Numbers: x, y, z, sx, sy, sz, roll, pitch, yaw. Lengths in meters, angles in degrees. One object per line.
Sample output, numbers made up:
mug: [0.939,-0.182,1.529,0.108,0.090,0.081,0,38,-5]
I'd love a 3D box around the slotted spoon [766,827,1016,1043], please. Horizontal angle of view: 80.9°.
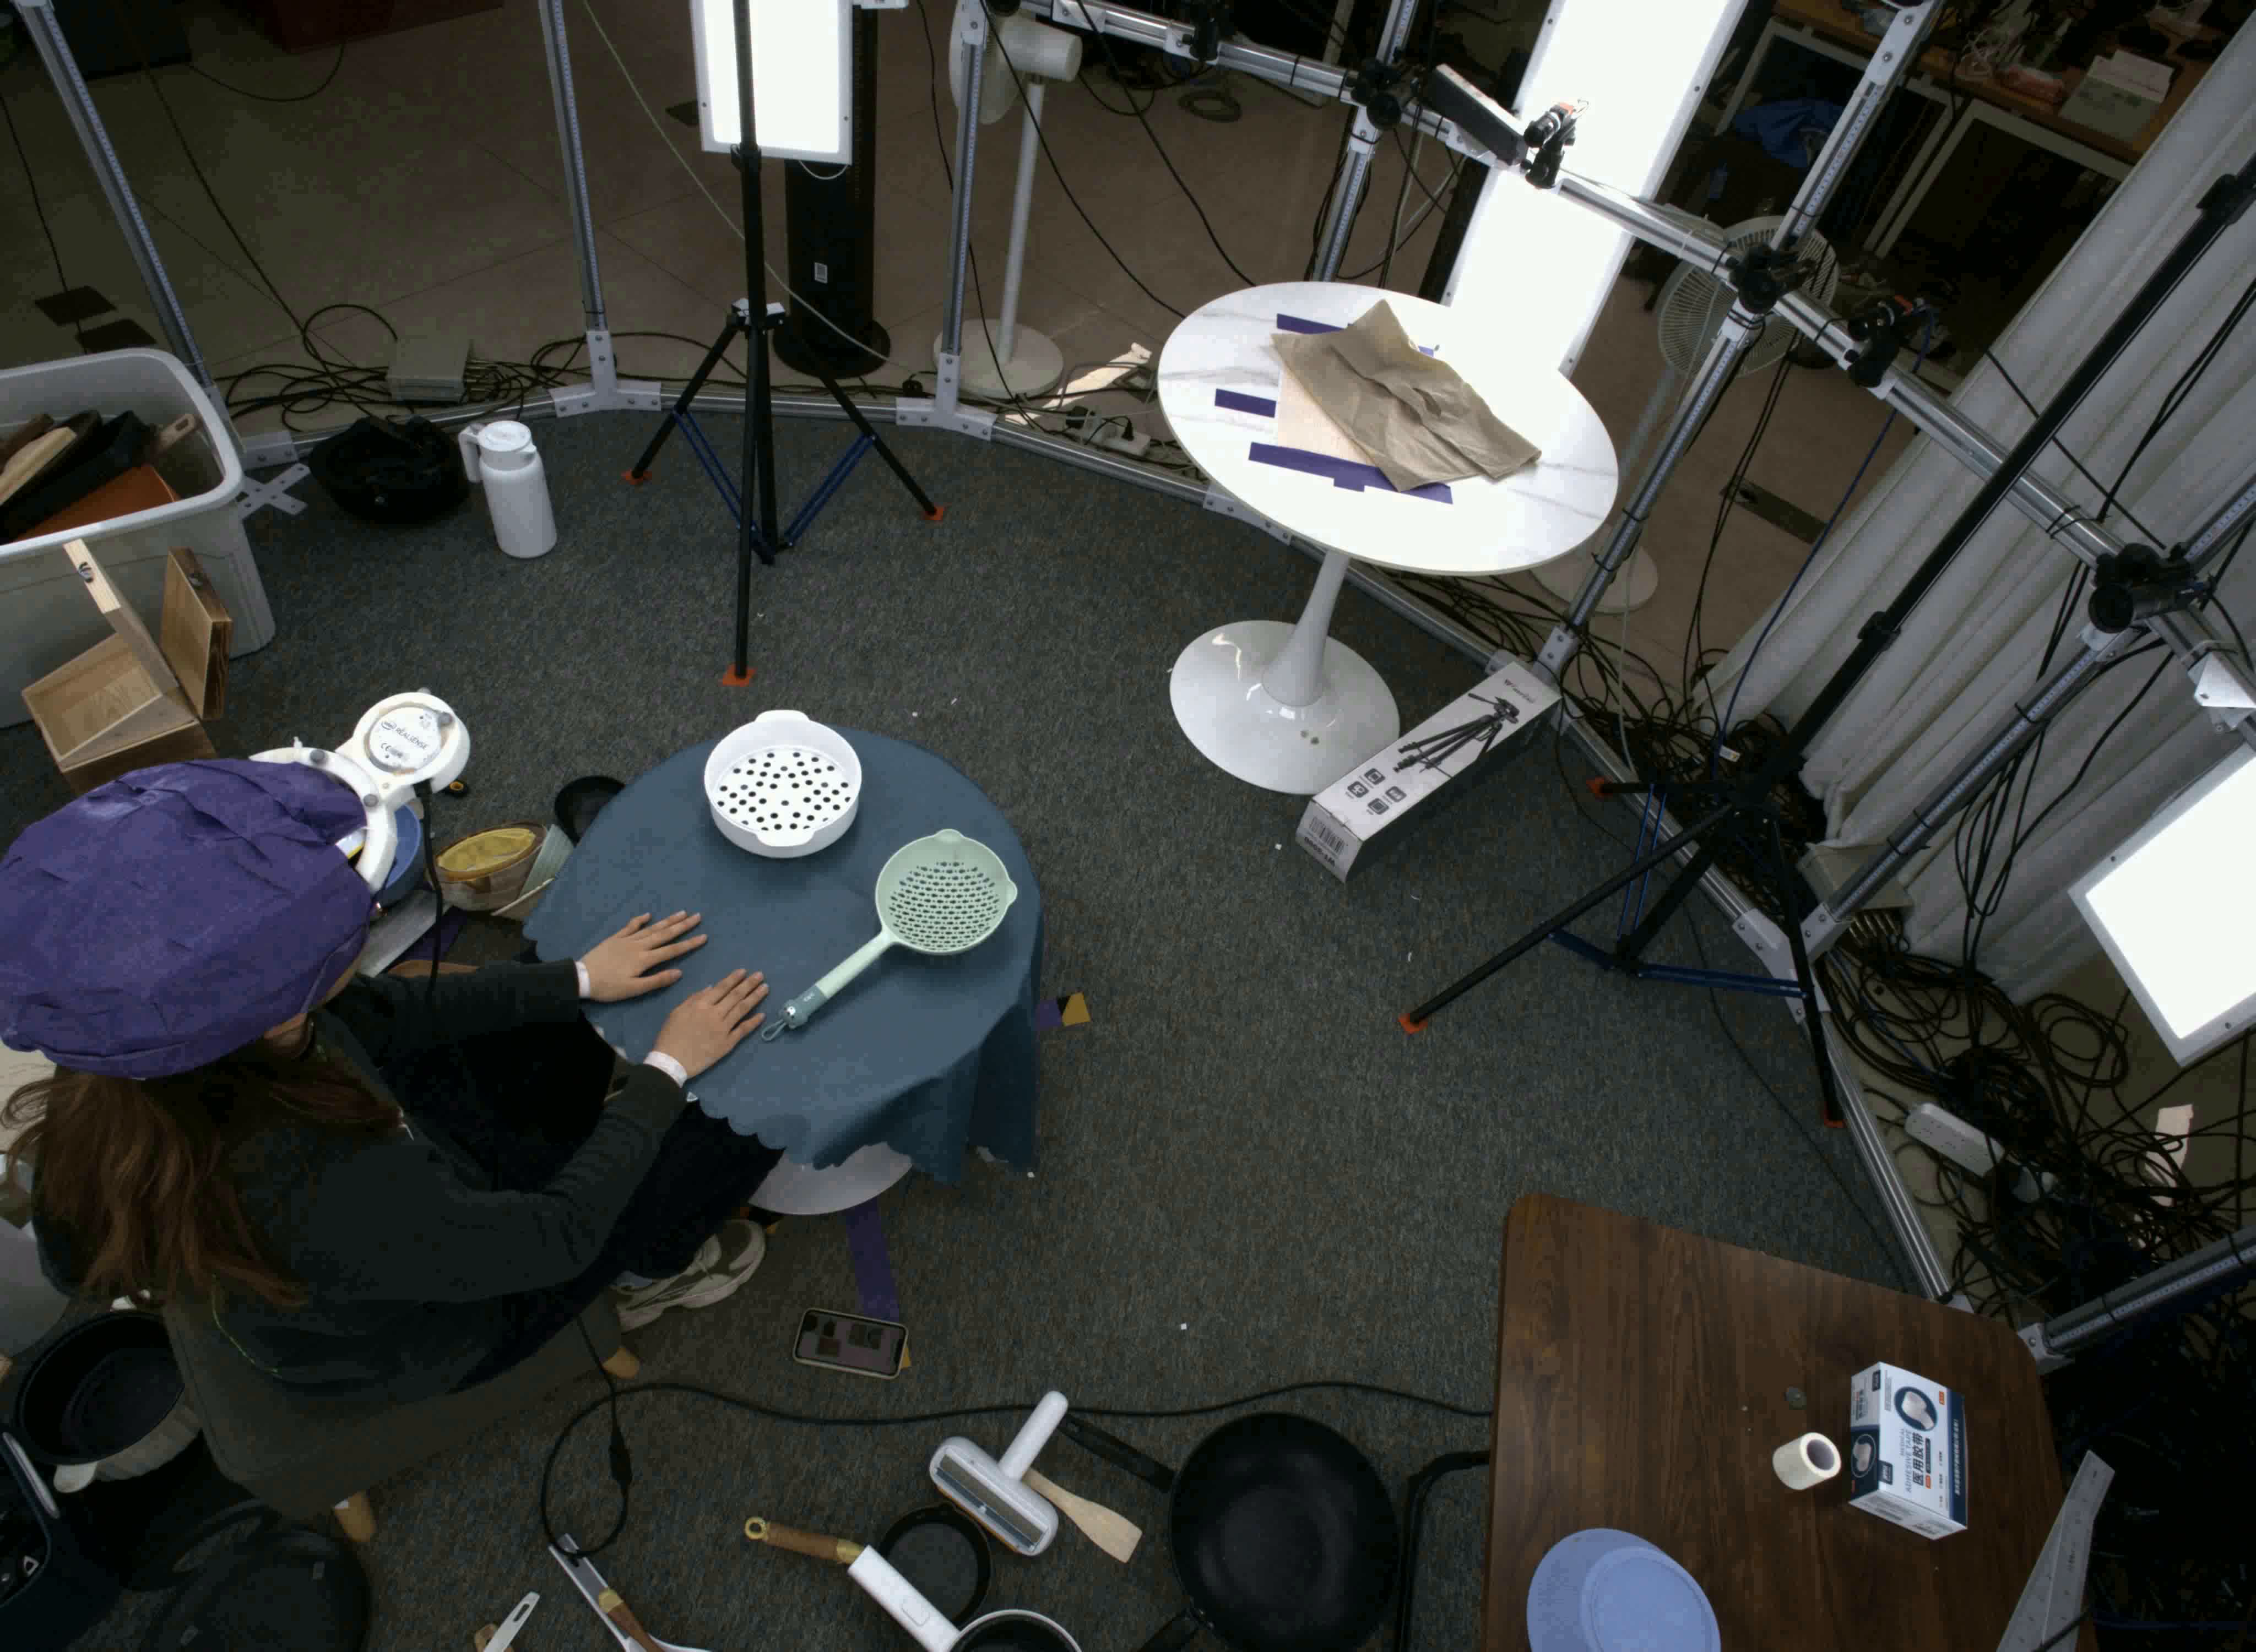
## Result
slotted spoon: [-0.302,0.142,1.613,0.165,0.077,0.359,41,55,18]

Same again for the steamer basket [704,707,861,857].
steamer basket: [-0.456,-0.053,1.719,0.202,0.070,0.225,-4,55,-15]
